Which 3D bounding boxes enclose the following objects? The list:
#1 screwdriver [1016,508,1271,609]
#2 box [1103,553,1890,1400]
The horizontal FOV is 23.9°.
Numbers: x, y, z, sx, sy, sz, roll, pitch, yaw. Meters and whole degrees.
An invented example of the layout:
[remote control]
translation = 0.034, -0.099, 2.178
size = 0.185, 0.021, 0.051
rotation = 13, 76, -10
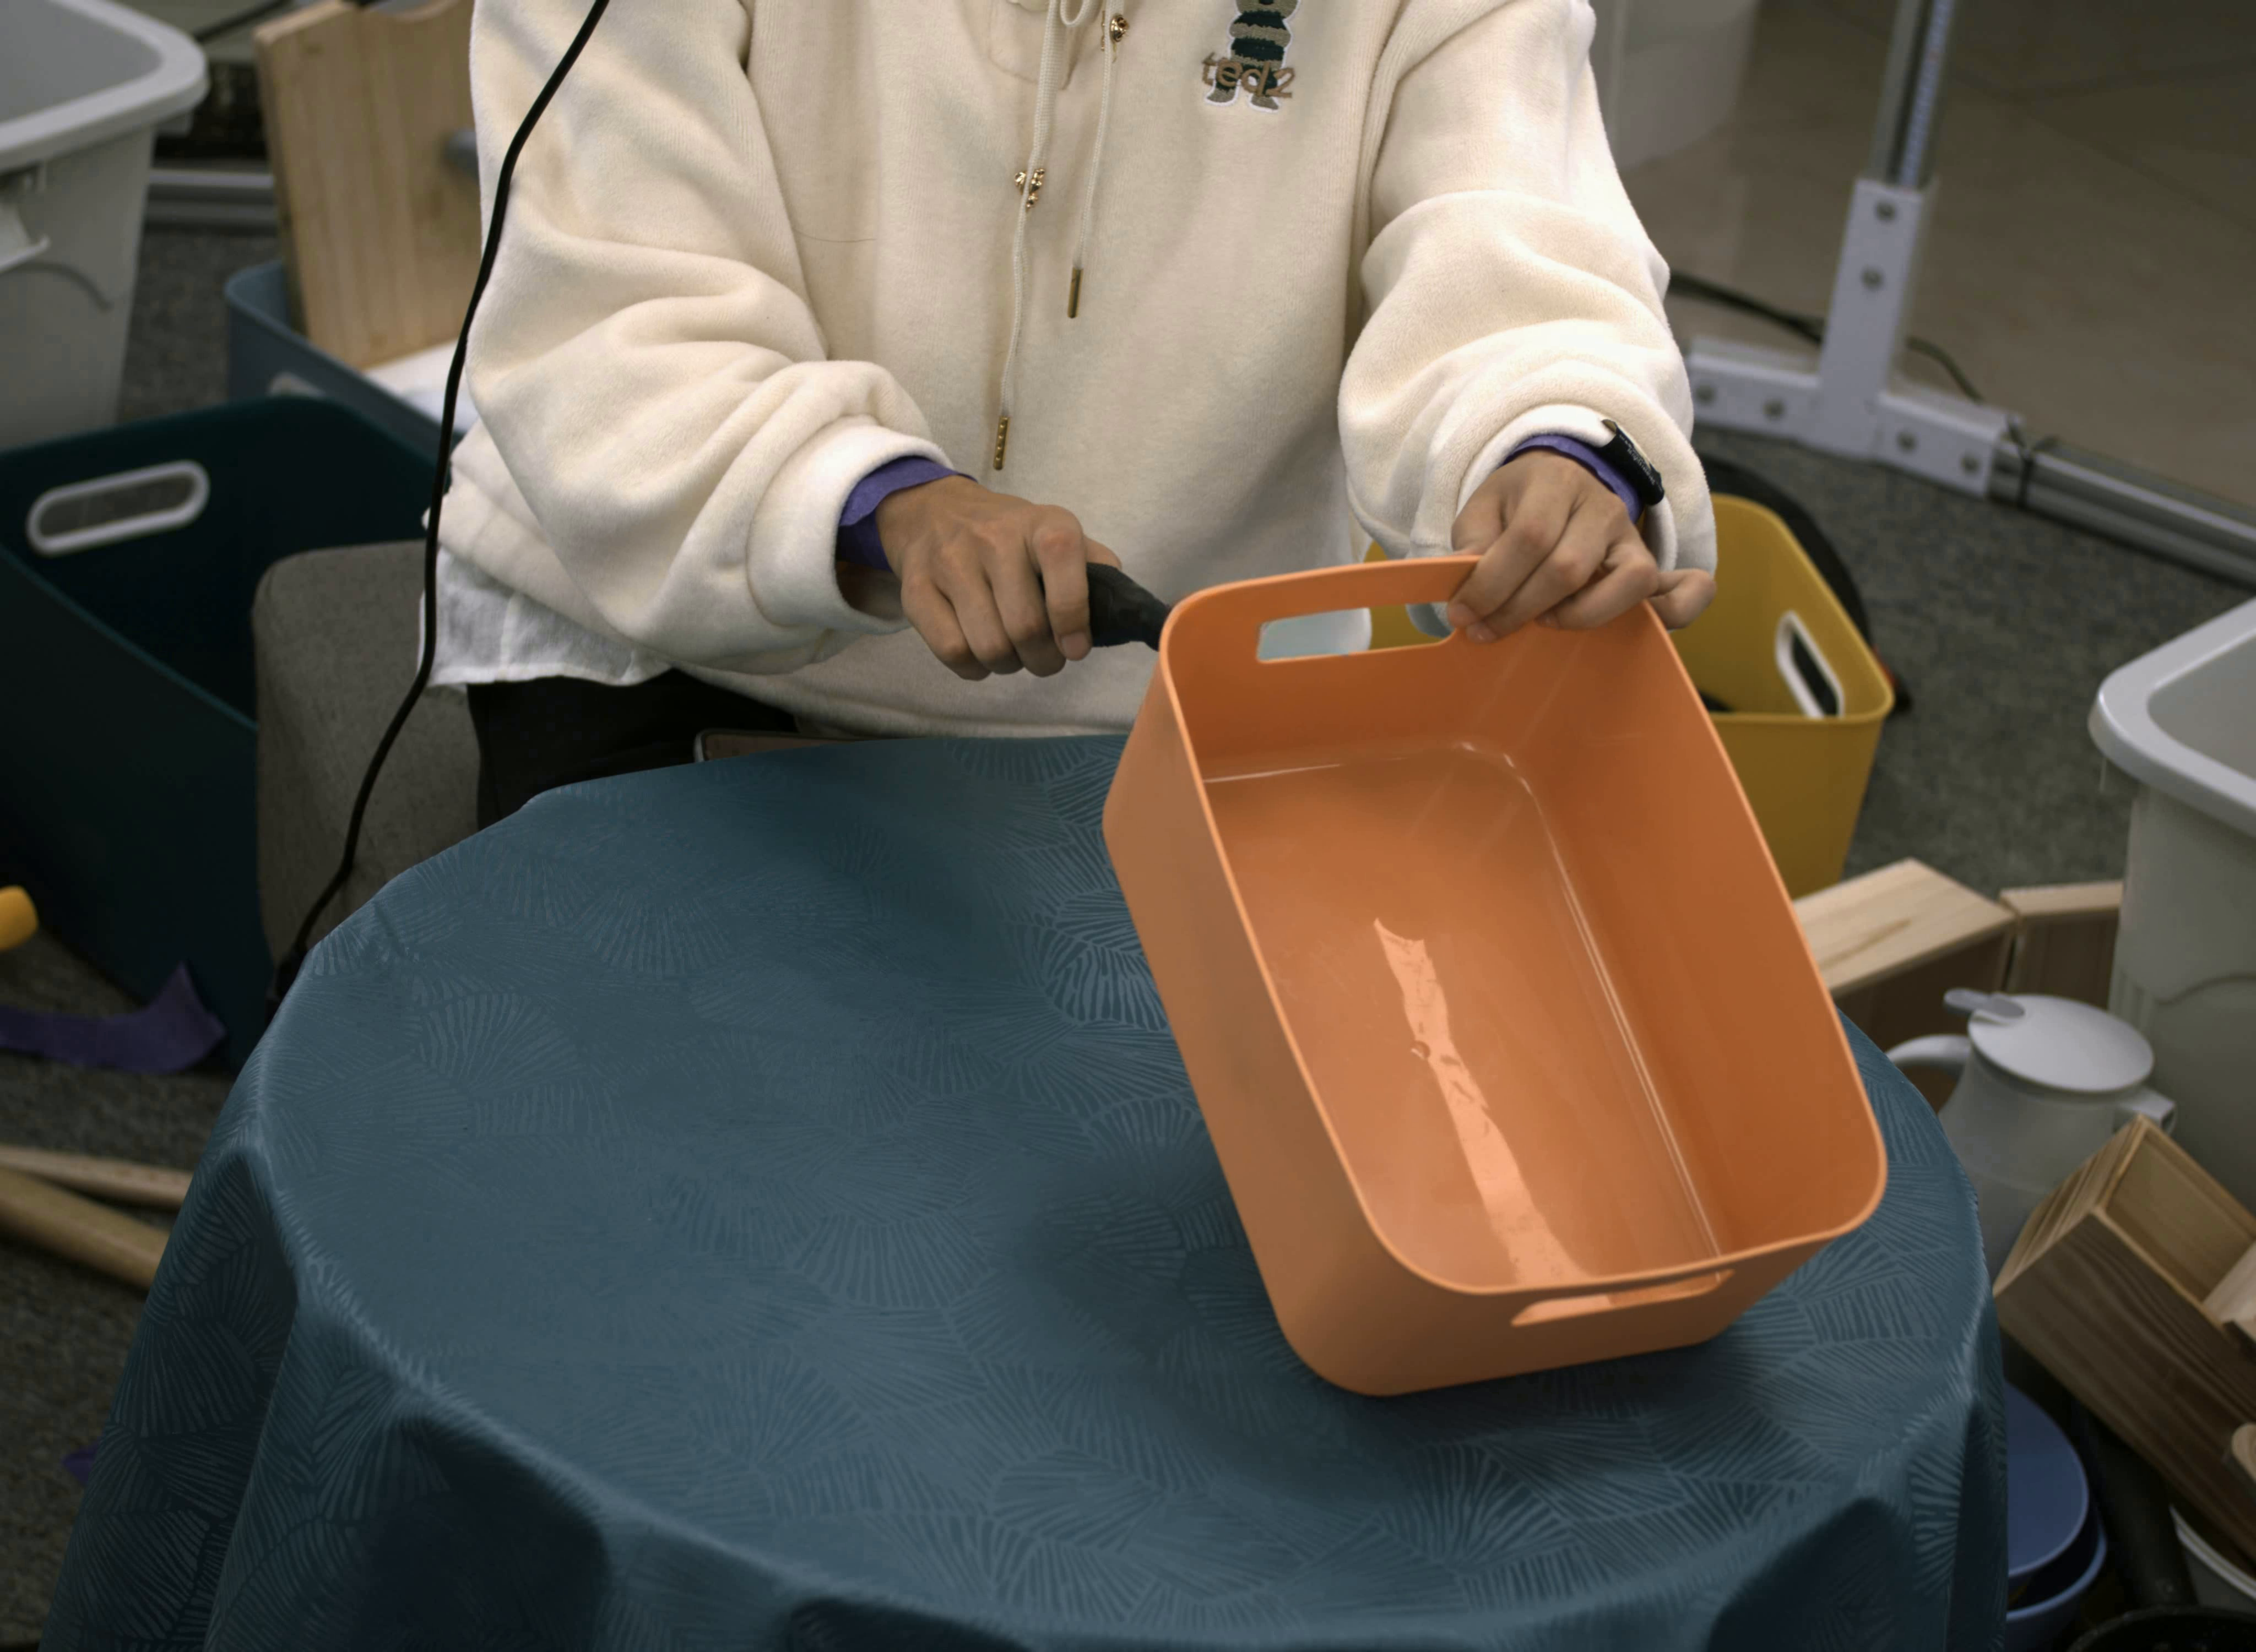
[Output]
[screwdriver]
translation = 0.021, -0.085, 1.877
size = 0.031, 0.031, 0.199
rotation = -12, 19, -33
[box]
translation = 0.113, 0.051, 1.747
size = 0.198, 0.102, 0.275
rotation = -7, 60, -24
